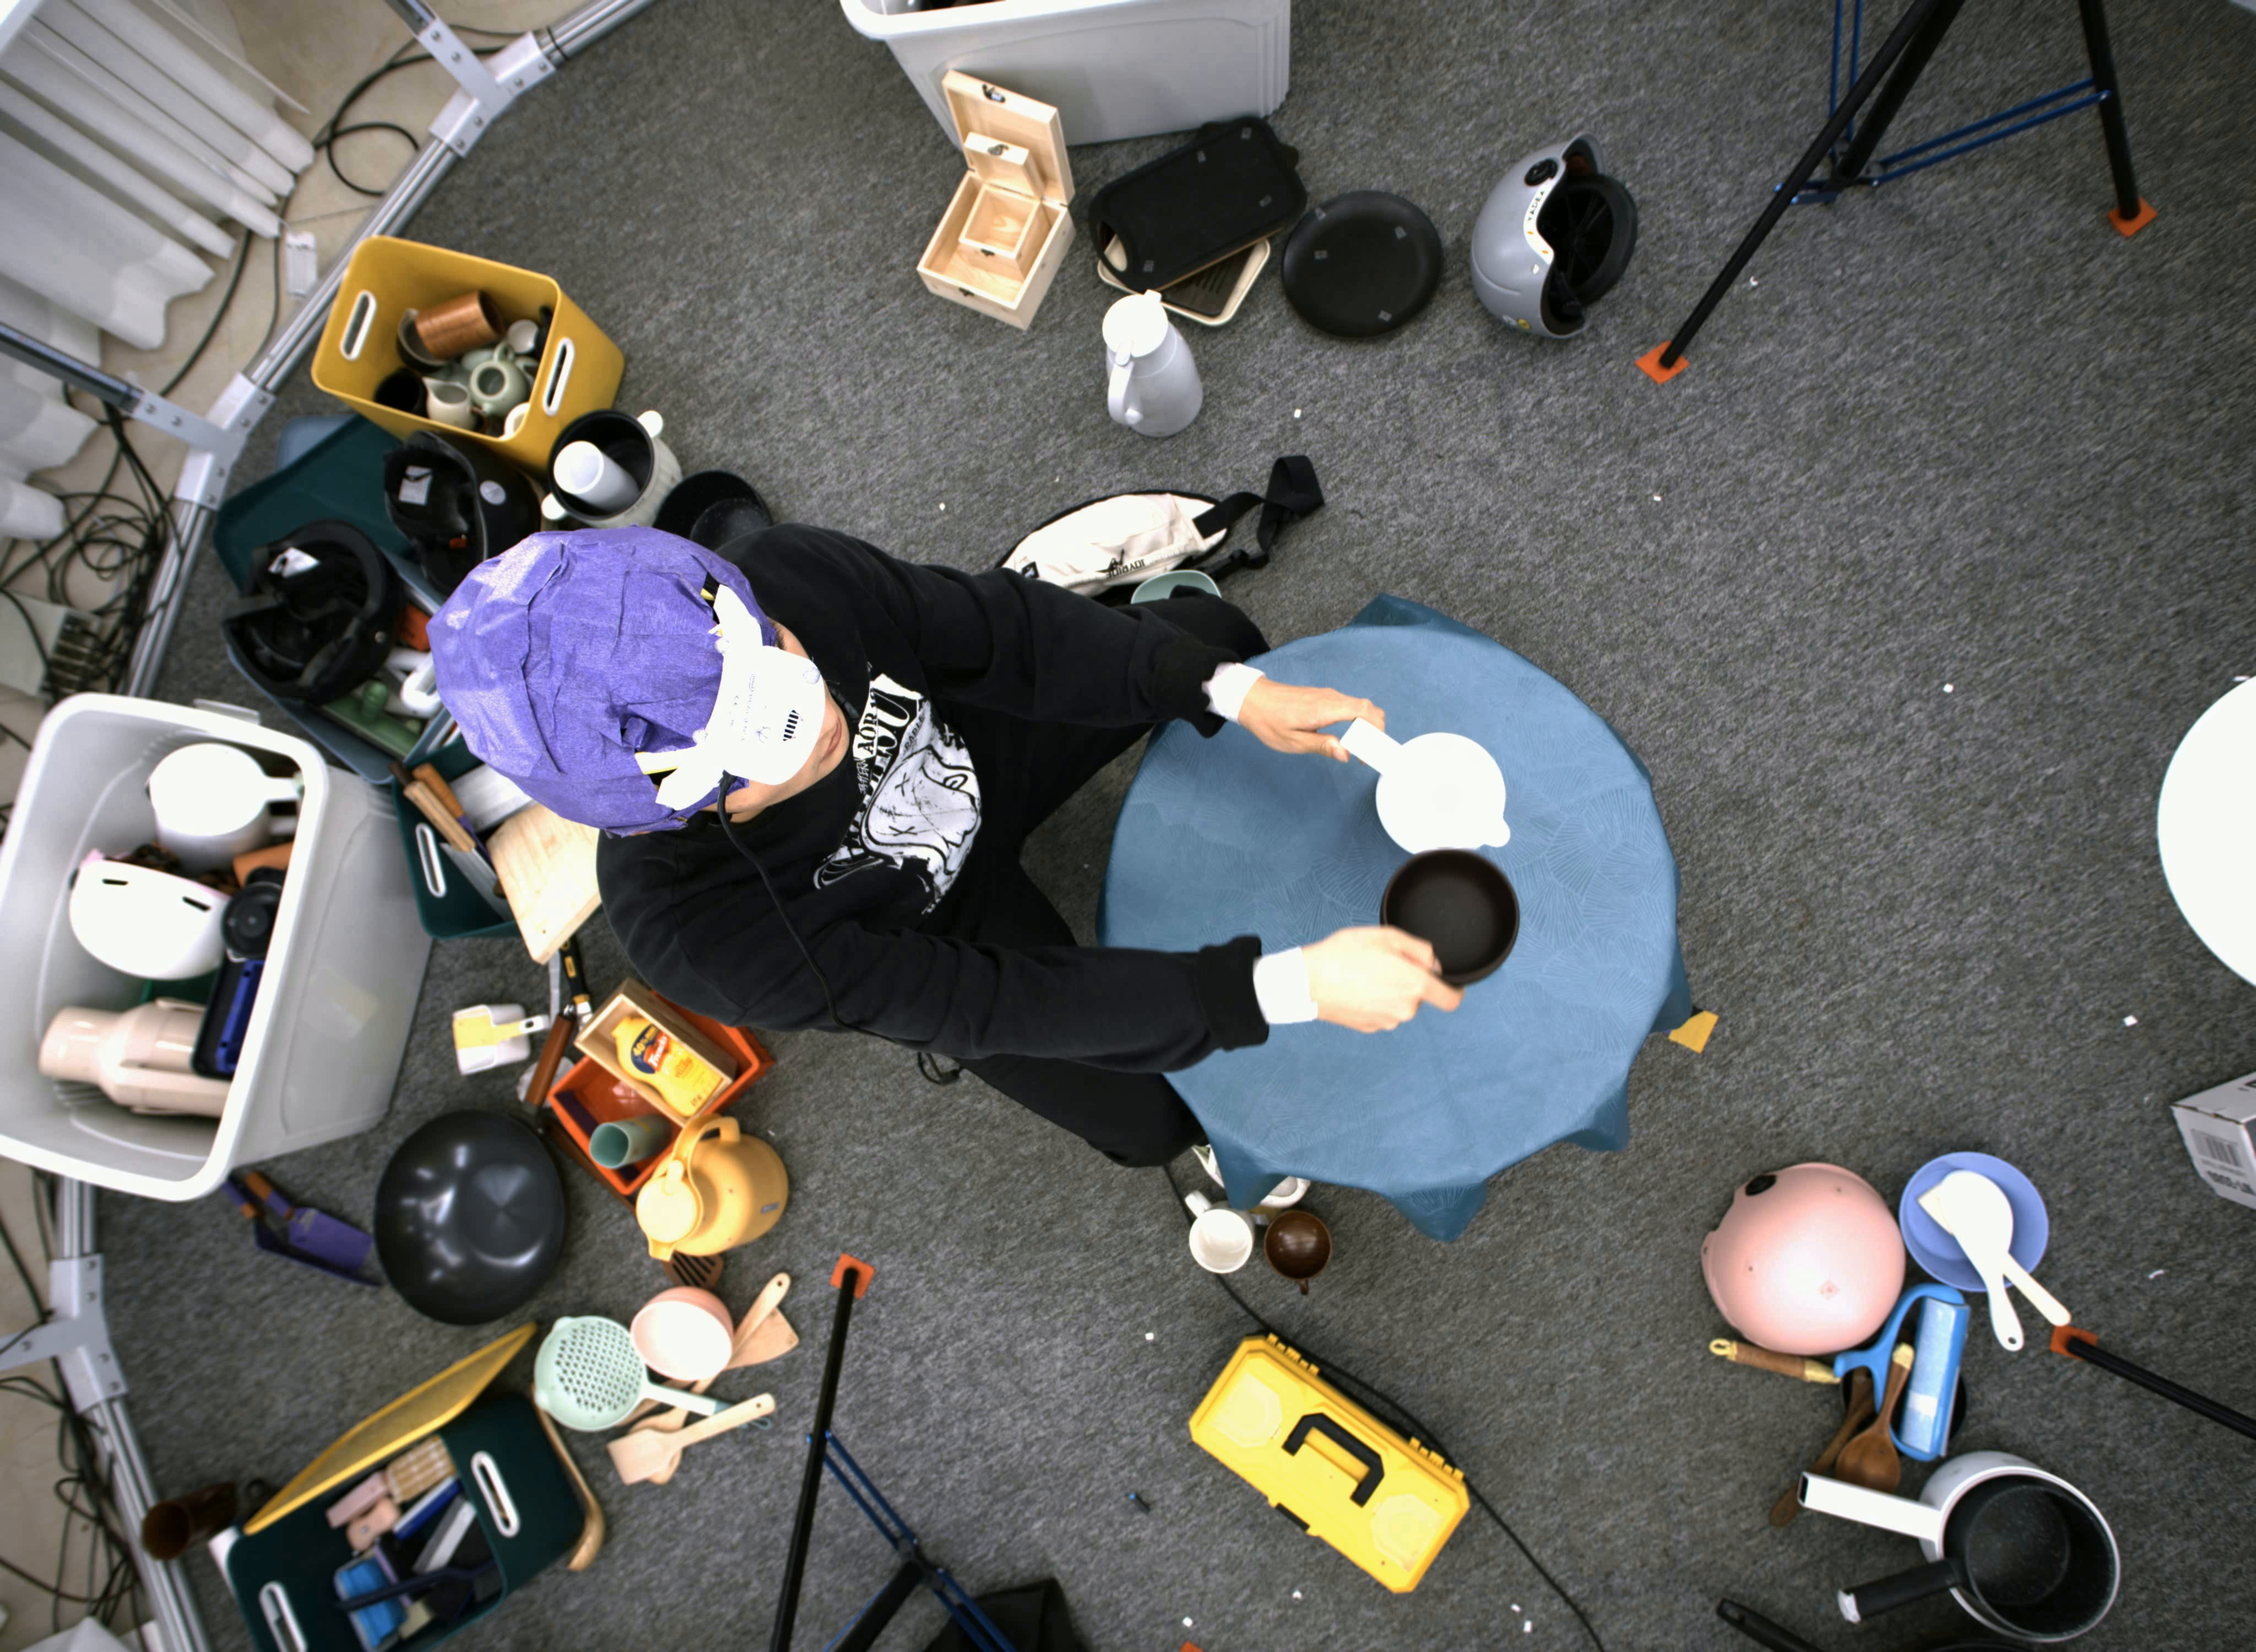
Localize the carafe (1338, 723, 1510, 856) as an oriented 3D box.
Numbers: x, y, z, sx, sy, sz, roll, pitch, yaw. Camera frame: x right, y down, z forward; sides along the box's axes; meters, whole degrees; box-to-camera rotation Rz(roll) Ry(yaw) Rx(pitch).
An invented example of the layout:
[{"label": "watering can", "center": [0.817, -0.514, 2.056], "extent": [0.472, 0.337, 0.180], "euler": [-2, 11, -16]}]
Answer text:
[{"label": "carafe", "center": [0.281, -0.037, 1.323], "extent": [0.172, 0.267, 0.125], "euler": [34, 99, 7]}]

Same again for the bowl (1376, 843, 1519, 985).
[{"label": "bowl", "center": [0.270, 0.078, 1.175], "extent": [0.118, 0.070, 0.116], "euler": [-3, 73, 8]}]
